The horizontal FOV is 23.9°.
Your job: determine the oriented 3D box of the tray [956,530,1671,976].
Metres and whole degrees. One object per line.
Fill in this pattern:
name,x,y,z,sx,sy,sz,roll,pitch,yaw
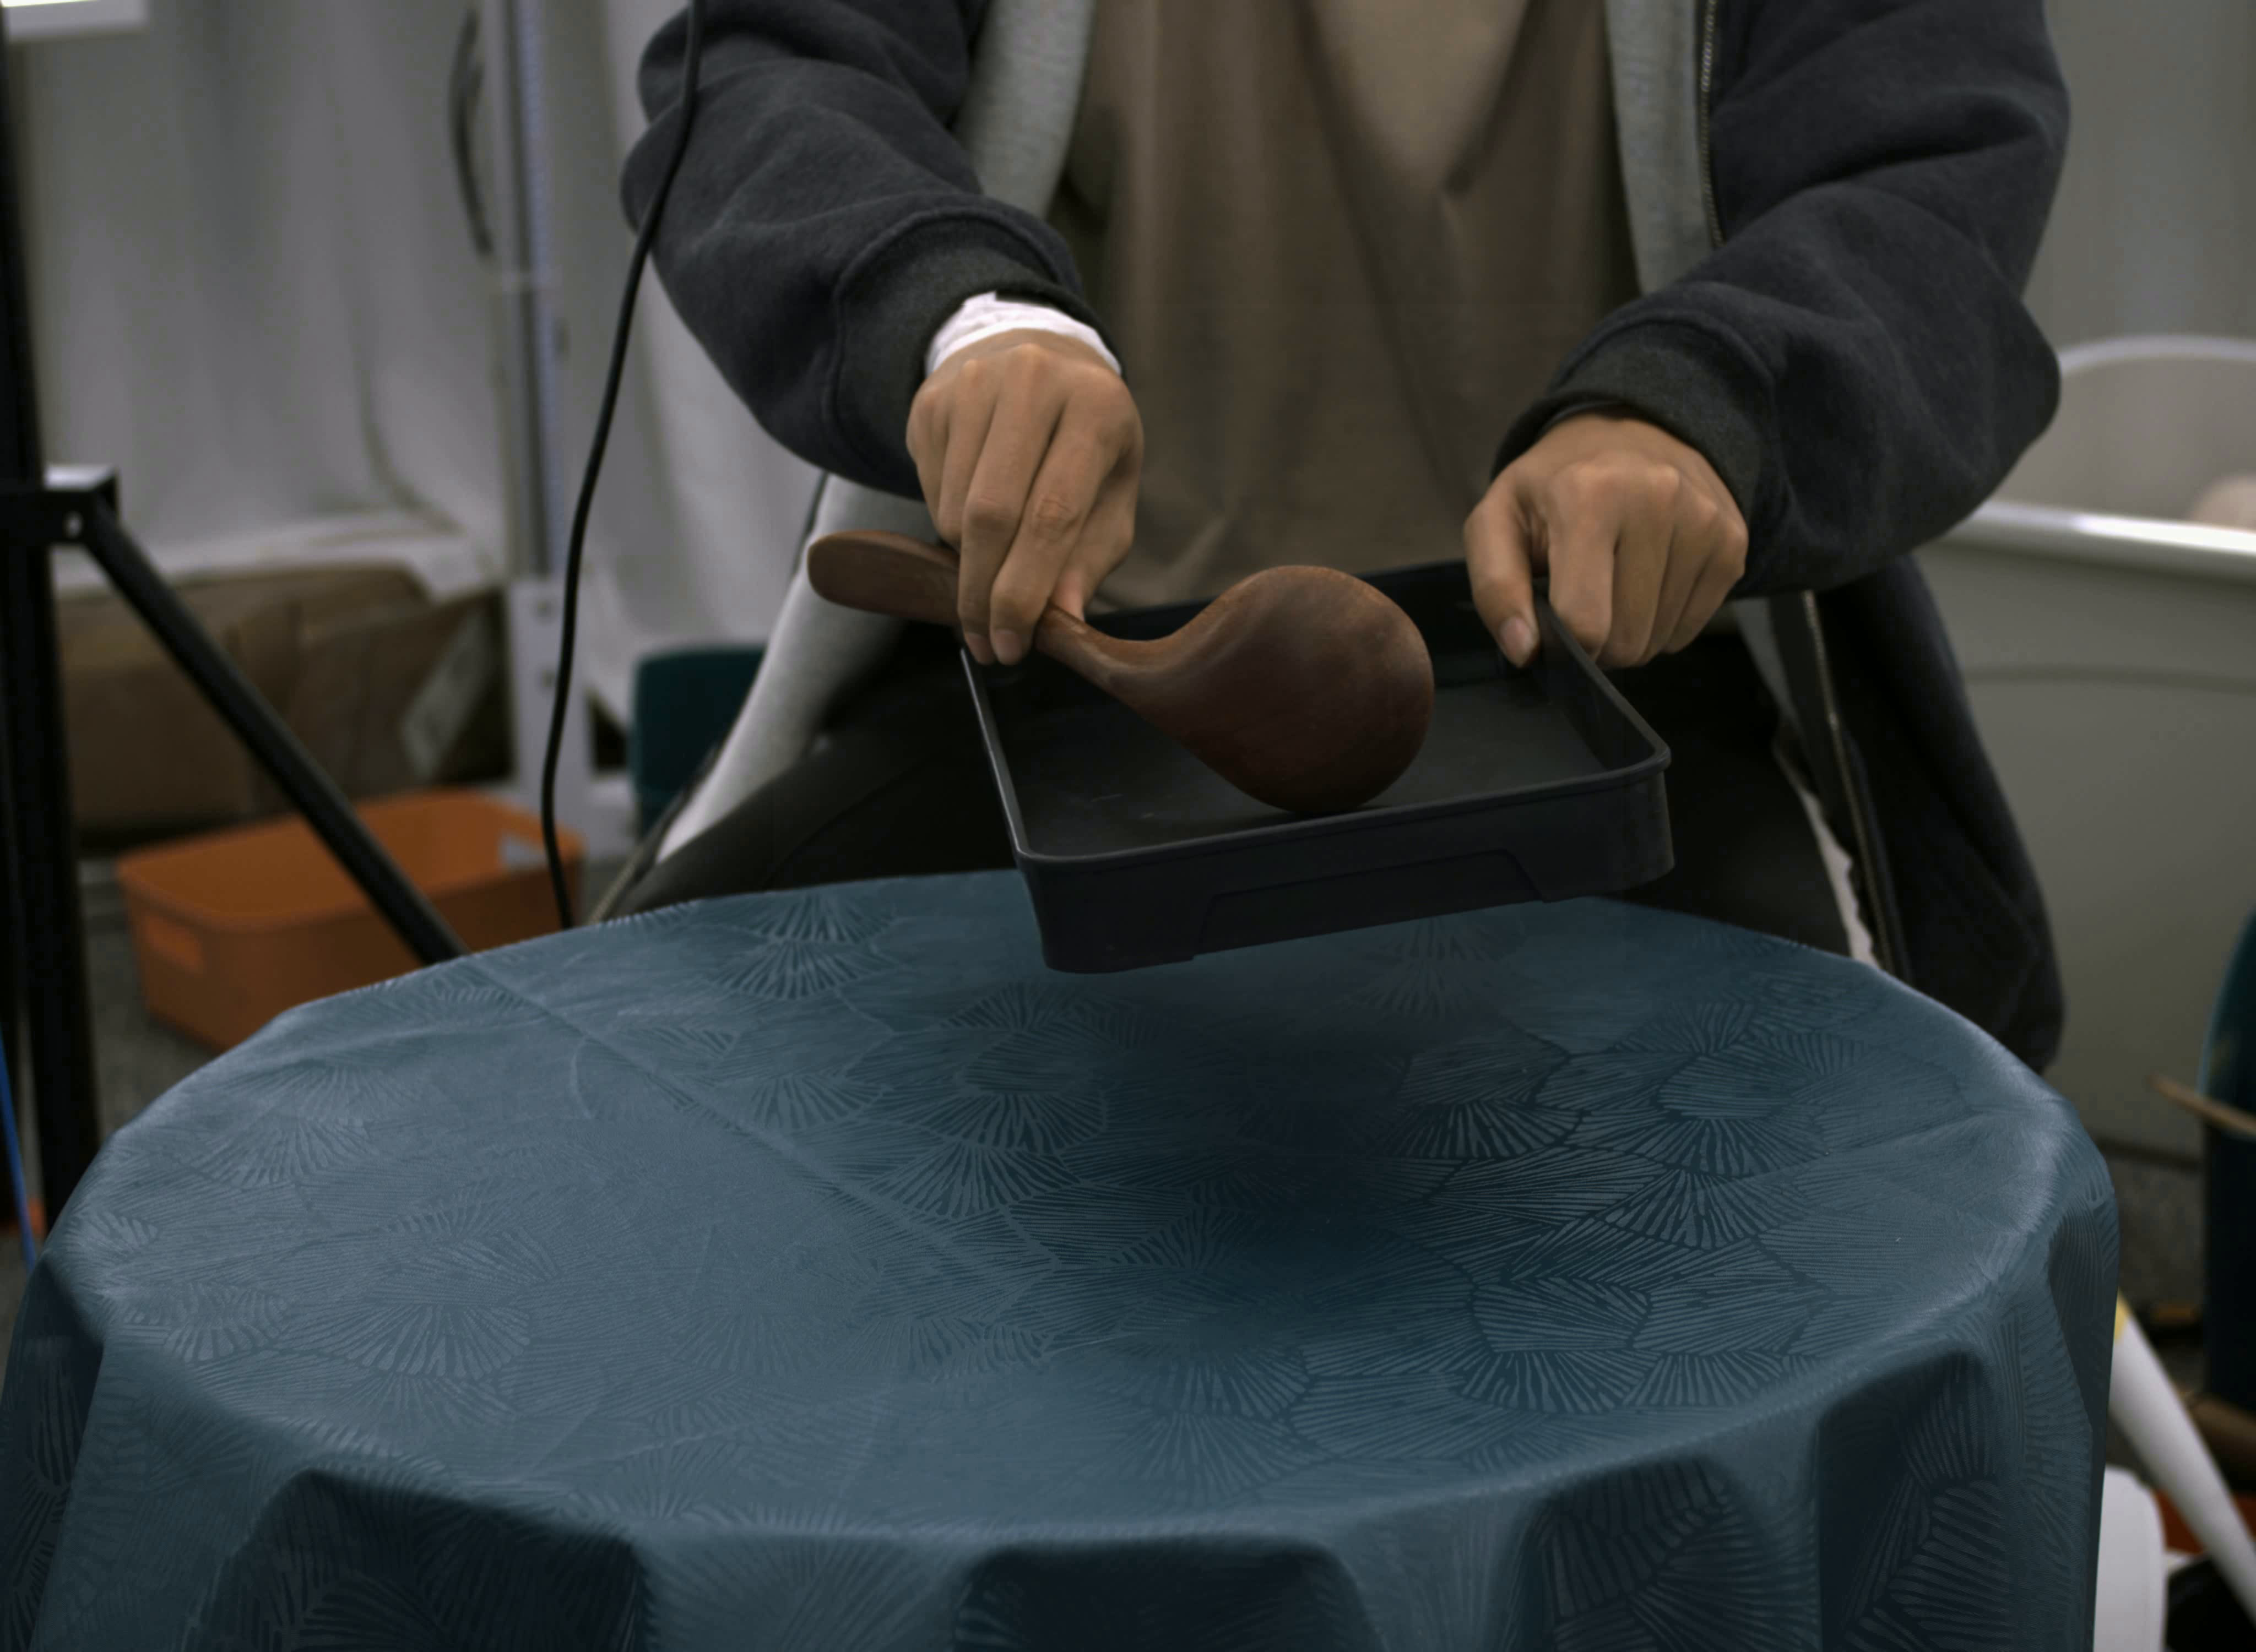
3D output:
tray,0.049,-0.027,1.596,0.183,0.037,0.320,-9,15,-2

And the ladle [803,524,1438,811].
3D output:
ladle,-0.006,-0.062,1.634,0.063,0.076,0.266,-12,20,-33
